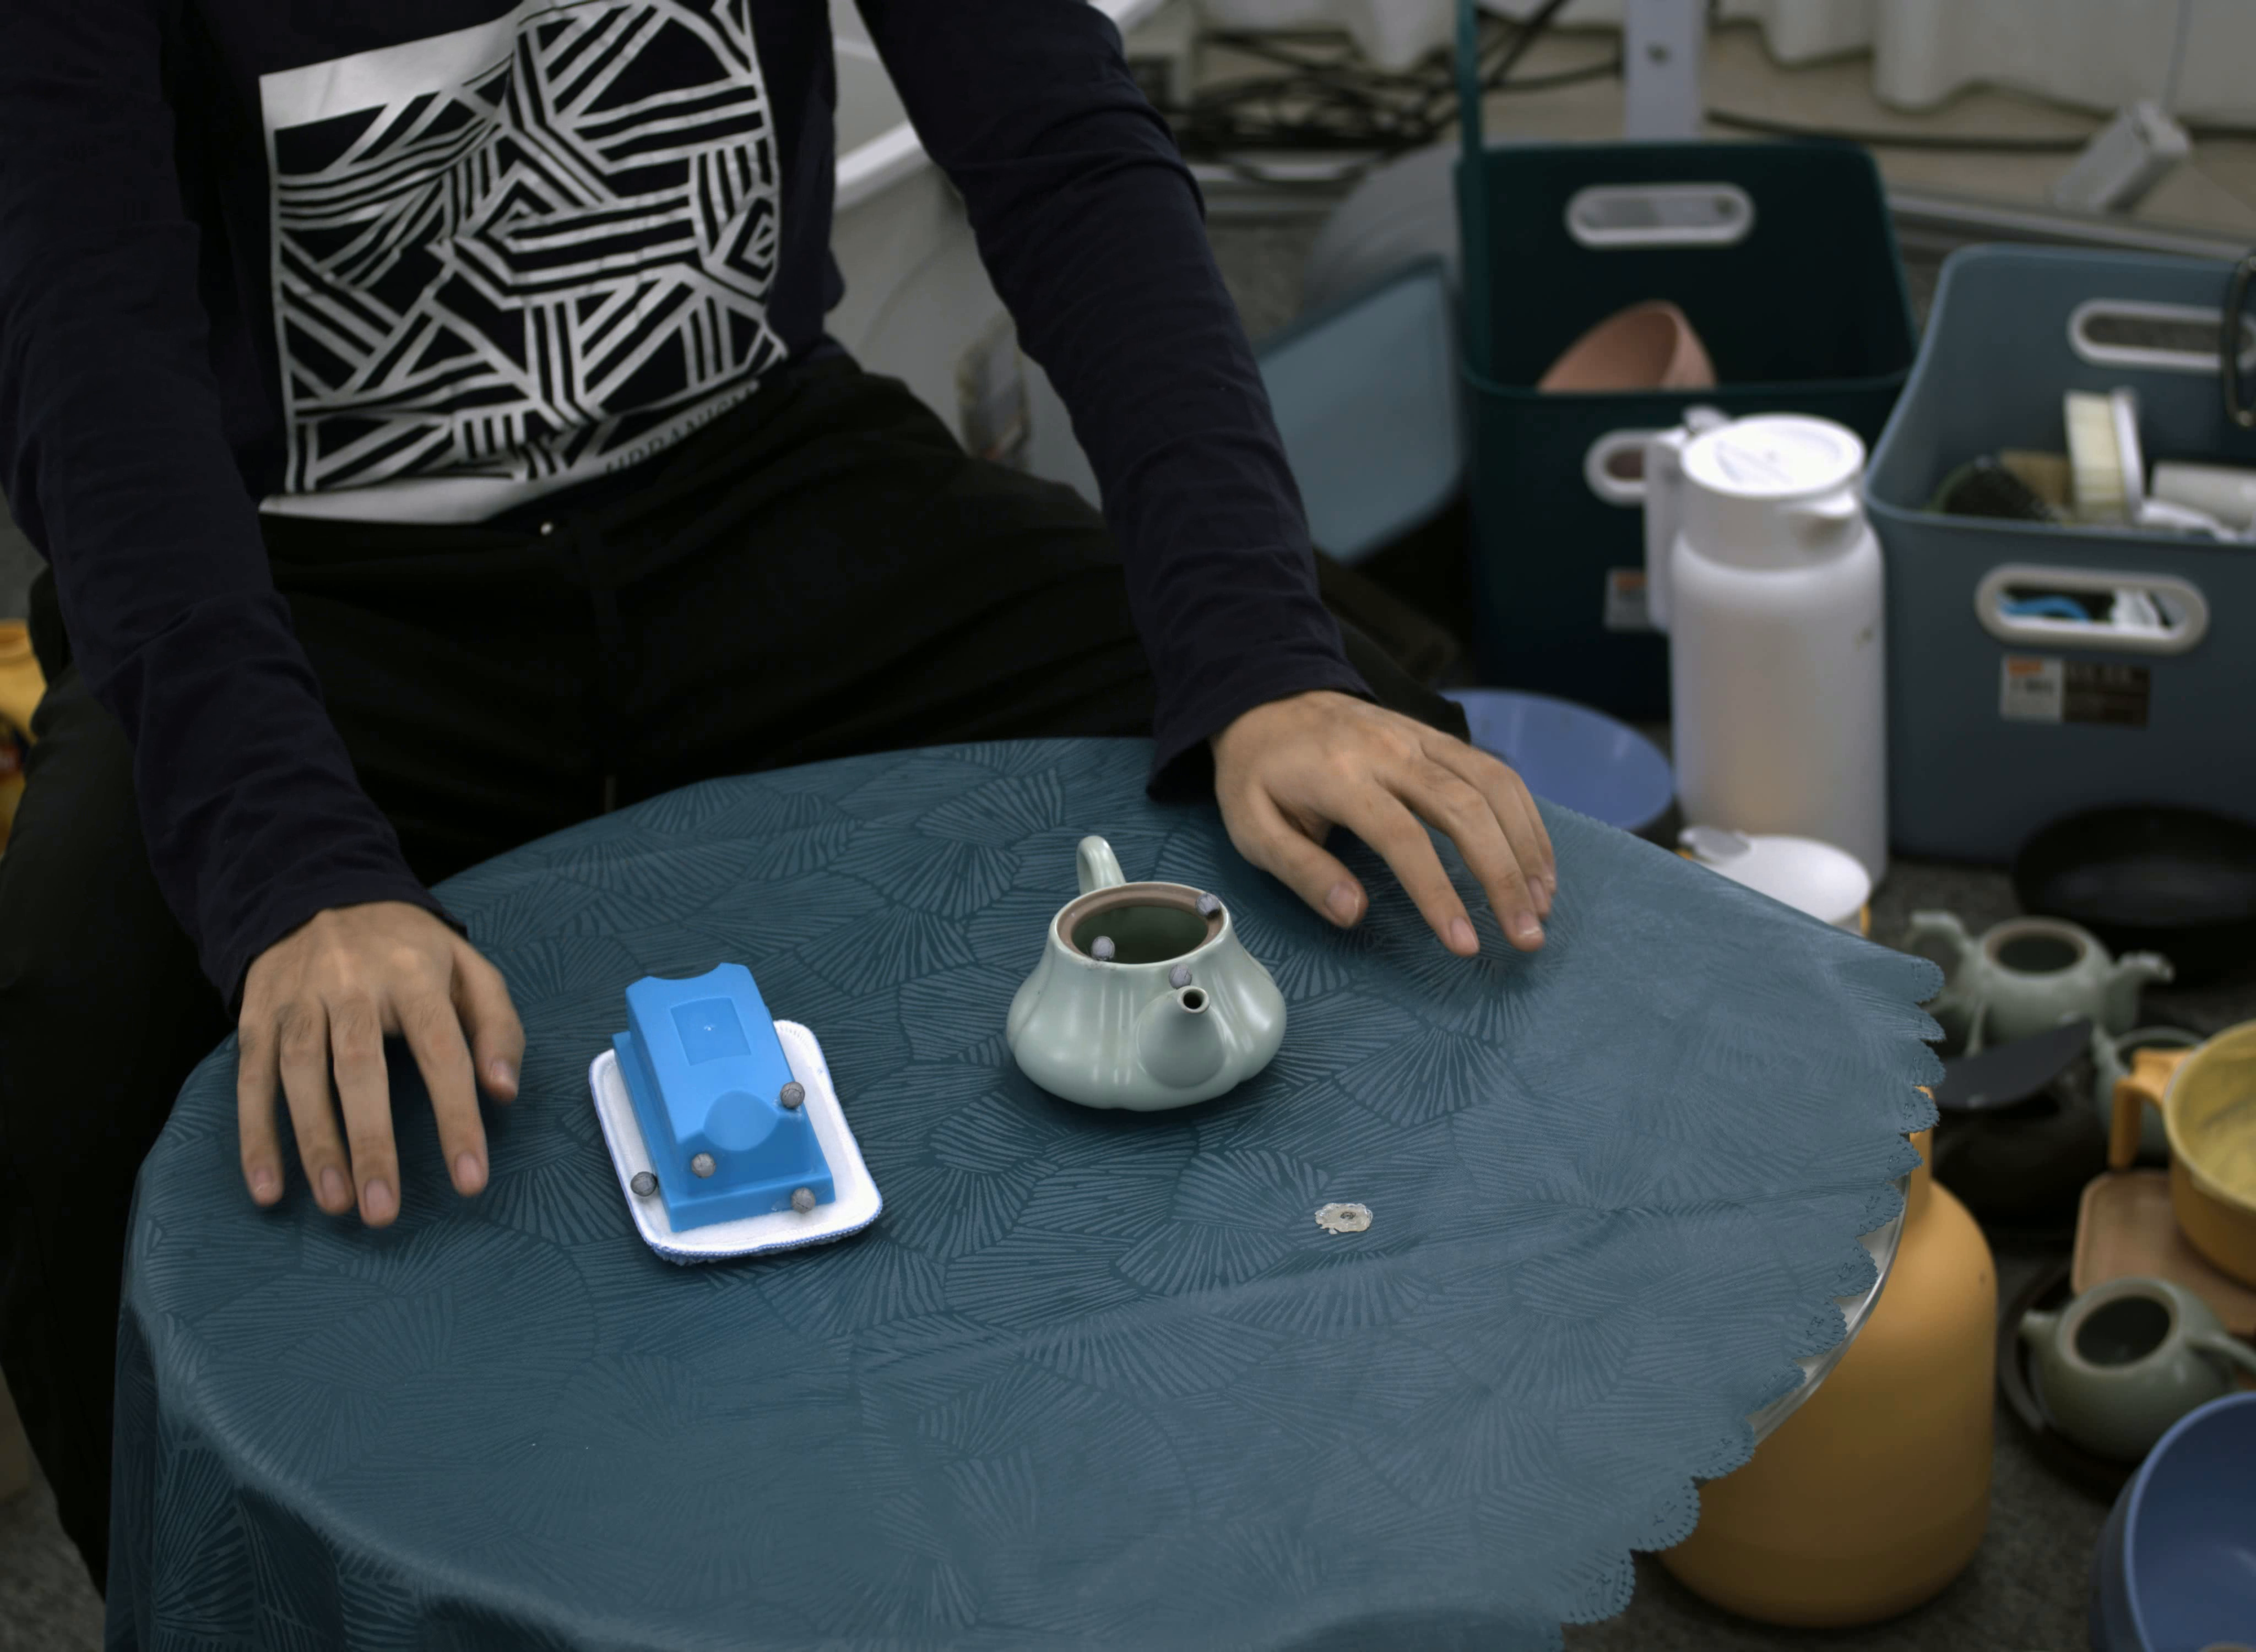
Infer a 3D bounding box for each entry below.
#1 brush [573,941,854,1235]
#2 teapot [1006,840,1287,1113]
[{"bbox_3d":[-0.138,0.083,1.881,0.084,0.055,0.146,-6,30,-11],"label":"brush"},{"bbox_3d":[0.004,0.055,1.924,0.096,0.061,0.138,-12,29,-15],"label":"teapot"}]
